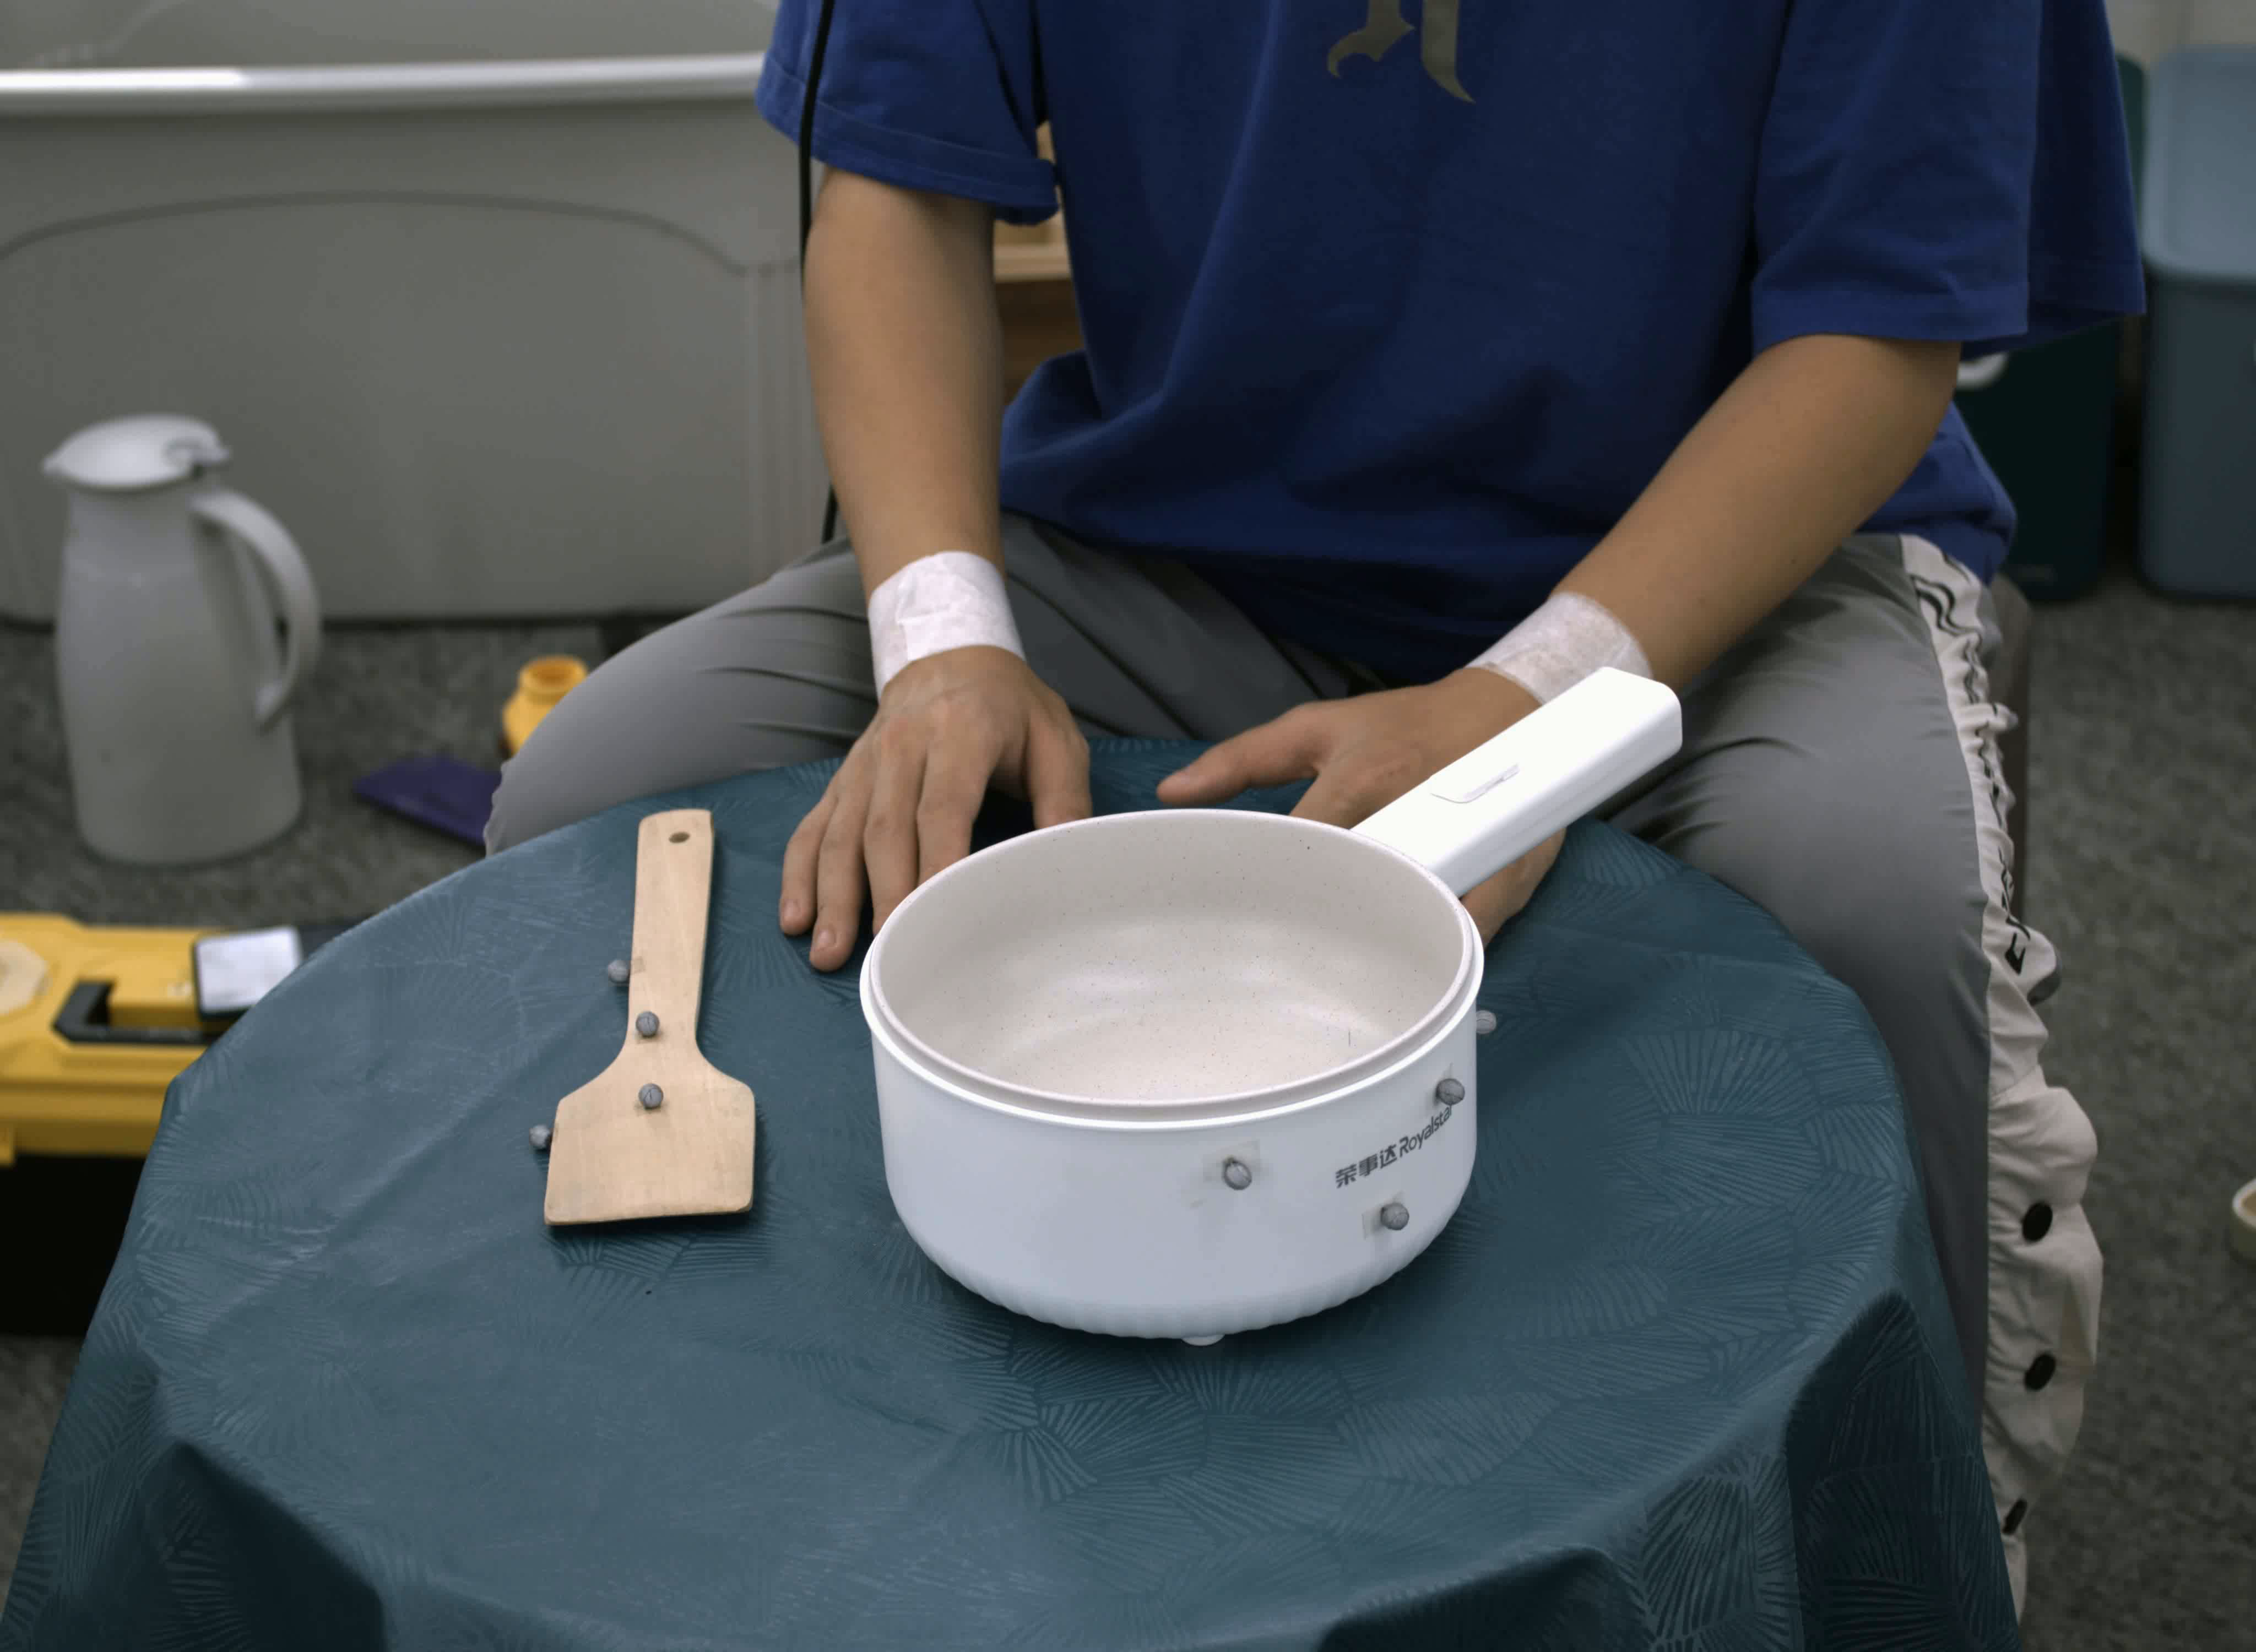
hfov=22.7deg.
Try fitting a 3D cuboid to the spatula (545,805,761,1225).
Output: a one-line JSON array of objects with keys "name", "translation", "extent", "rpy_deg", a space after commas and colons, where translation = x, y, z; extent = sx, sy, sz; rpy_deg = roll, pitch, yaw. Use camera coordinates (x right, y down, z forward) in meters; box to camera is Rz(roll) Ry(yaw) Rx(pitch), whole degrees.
[{"name": "spatula", "translation": [-0.163, 0.063, 1.980], "extent": [0.072, 0.010, 0.297], "rpy_deg": [-4, 28, 0]}]

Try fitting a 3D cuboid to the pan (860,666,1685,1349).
[{"name": "pan", "translation": [0.066, 0.056, 1.877], "extent": [0.200, 0.101, 0.359], "rpy_deg": [16, 33, 37]}]
